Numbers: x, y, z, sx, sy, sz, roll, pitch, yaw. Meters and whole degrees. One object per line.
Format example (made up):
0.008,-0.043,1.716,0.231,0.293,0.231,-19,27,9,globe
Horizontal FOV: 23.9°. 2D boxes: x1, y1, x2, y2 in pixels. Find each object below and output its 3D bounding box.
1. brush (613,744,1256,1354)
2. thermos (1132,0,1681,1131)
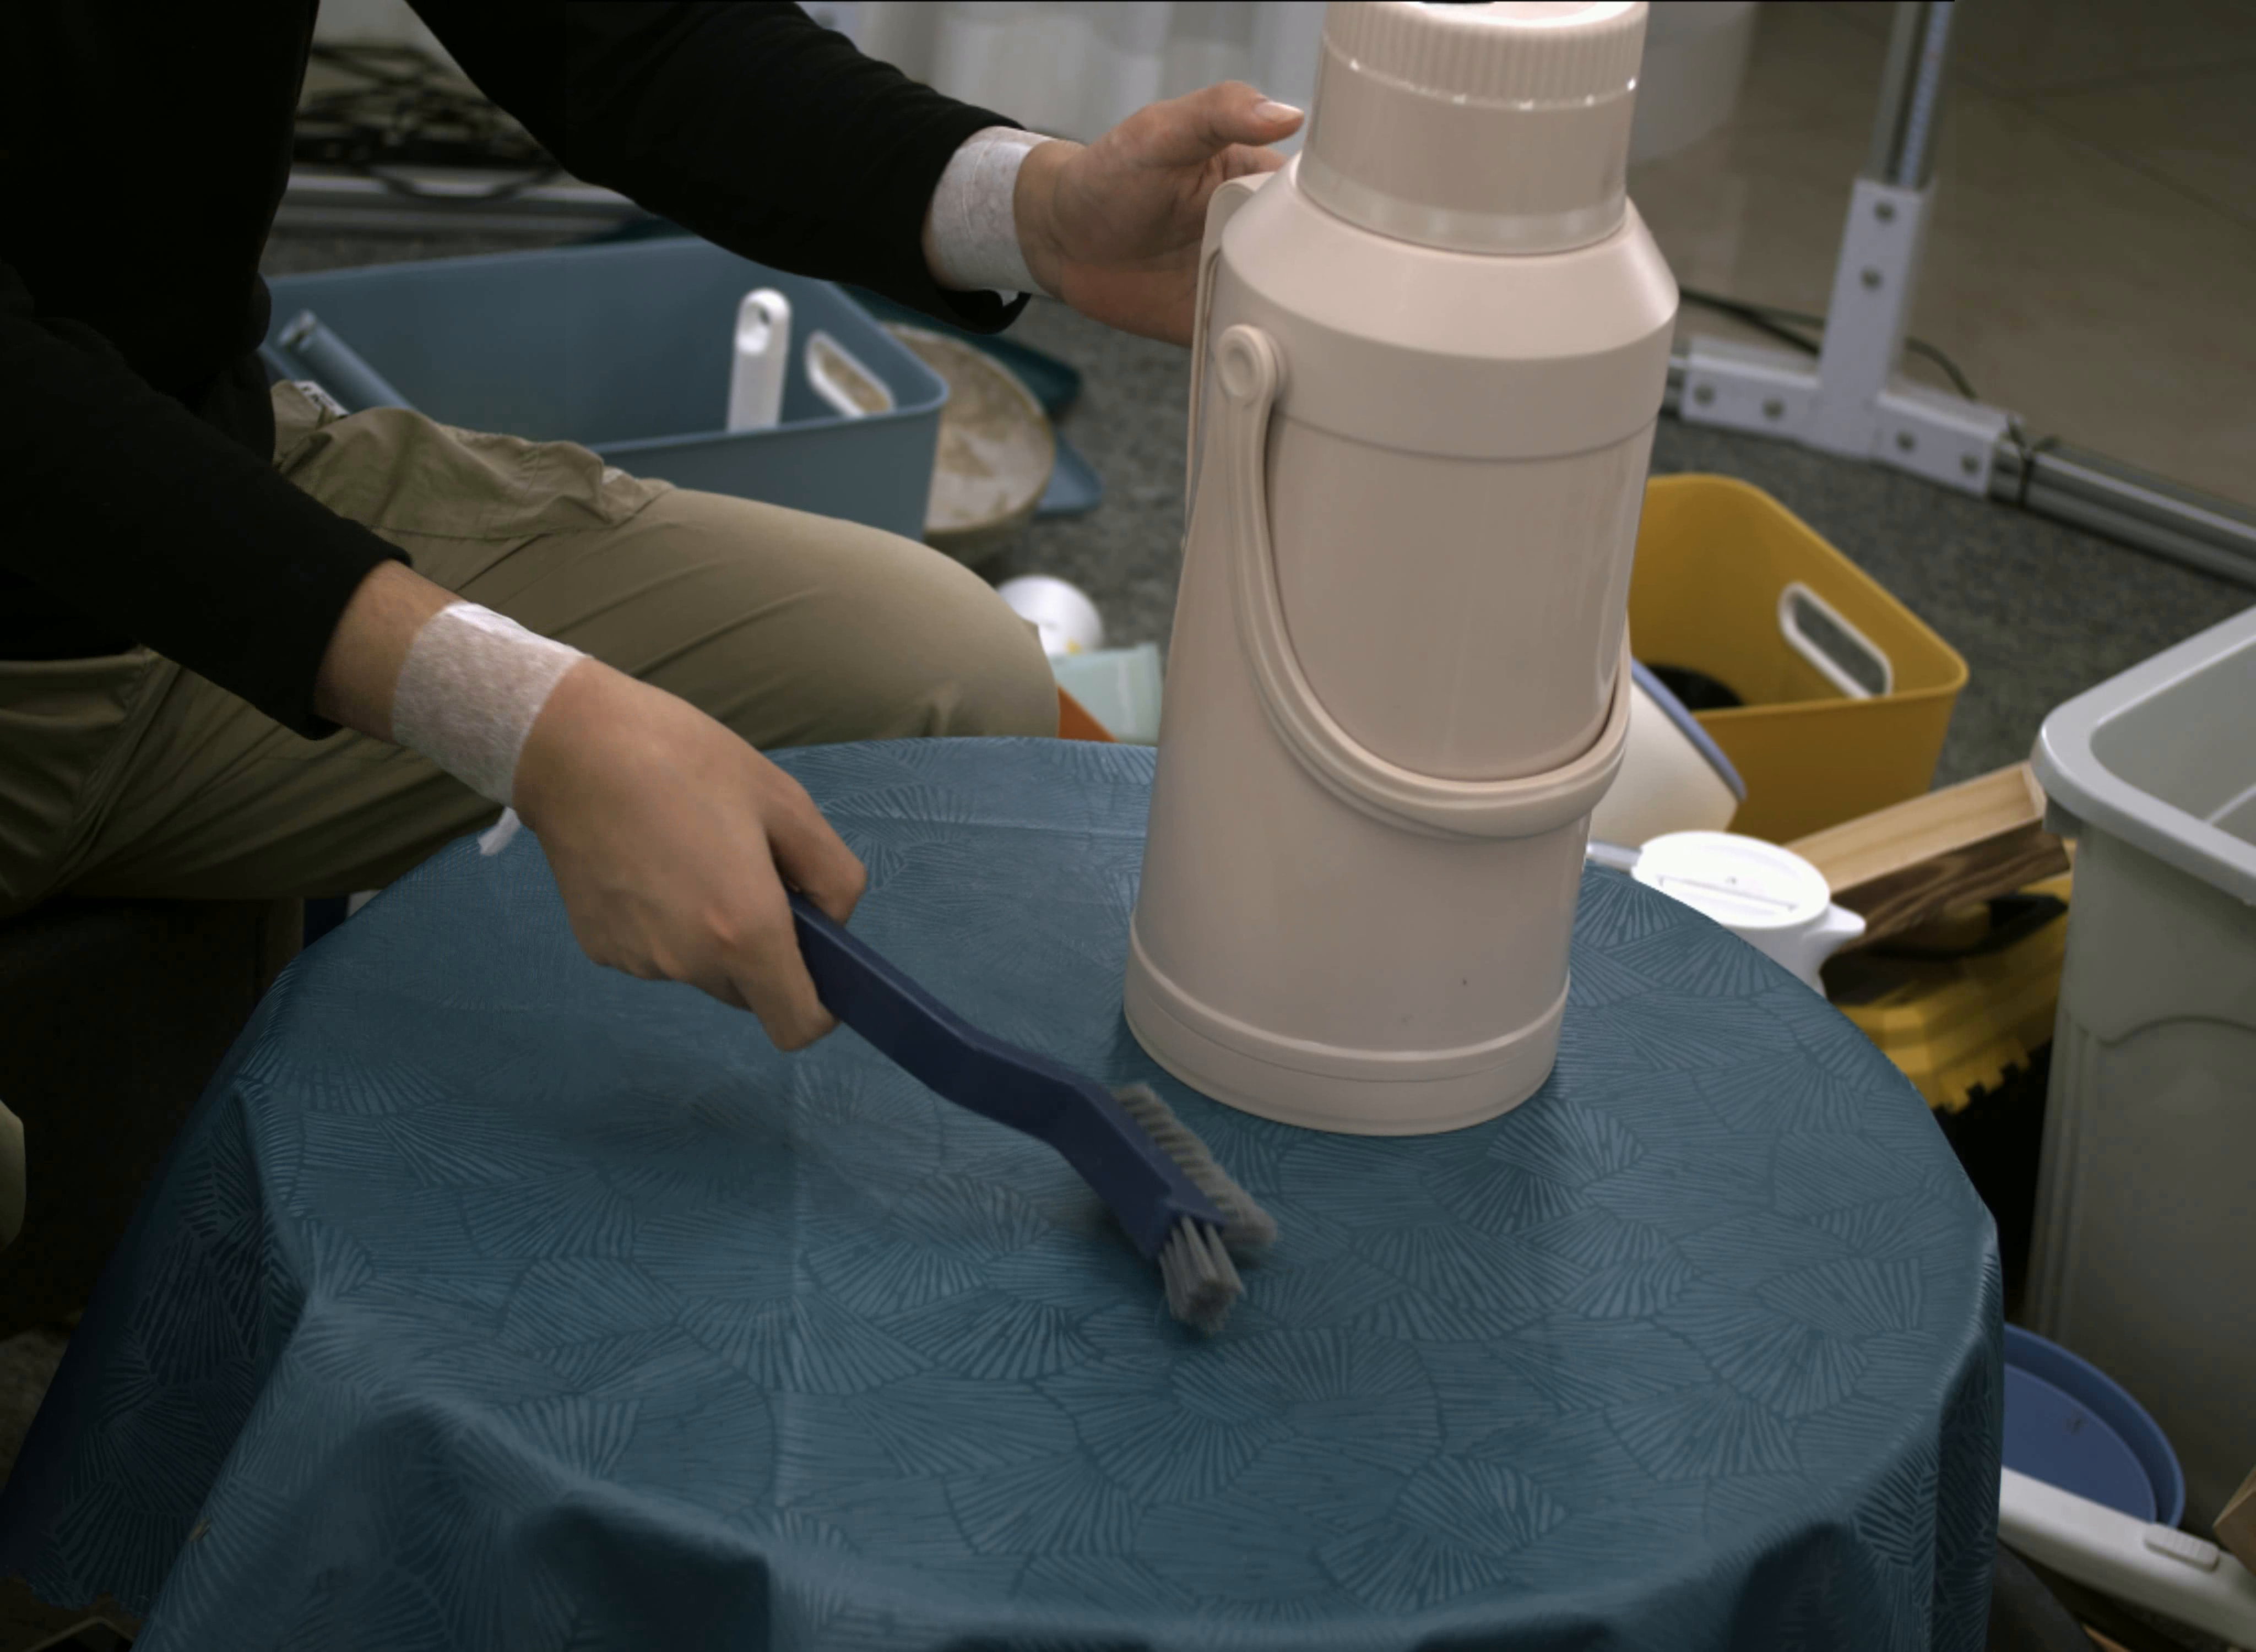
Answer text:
-0.071,0.070,1.767,0.274,0.033,0.095,34,30,9,brush
0.092,-0.111,1.845,0.174,0.405,0.209,-15,34,-34,thermos
